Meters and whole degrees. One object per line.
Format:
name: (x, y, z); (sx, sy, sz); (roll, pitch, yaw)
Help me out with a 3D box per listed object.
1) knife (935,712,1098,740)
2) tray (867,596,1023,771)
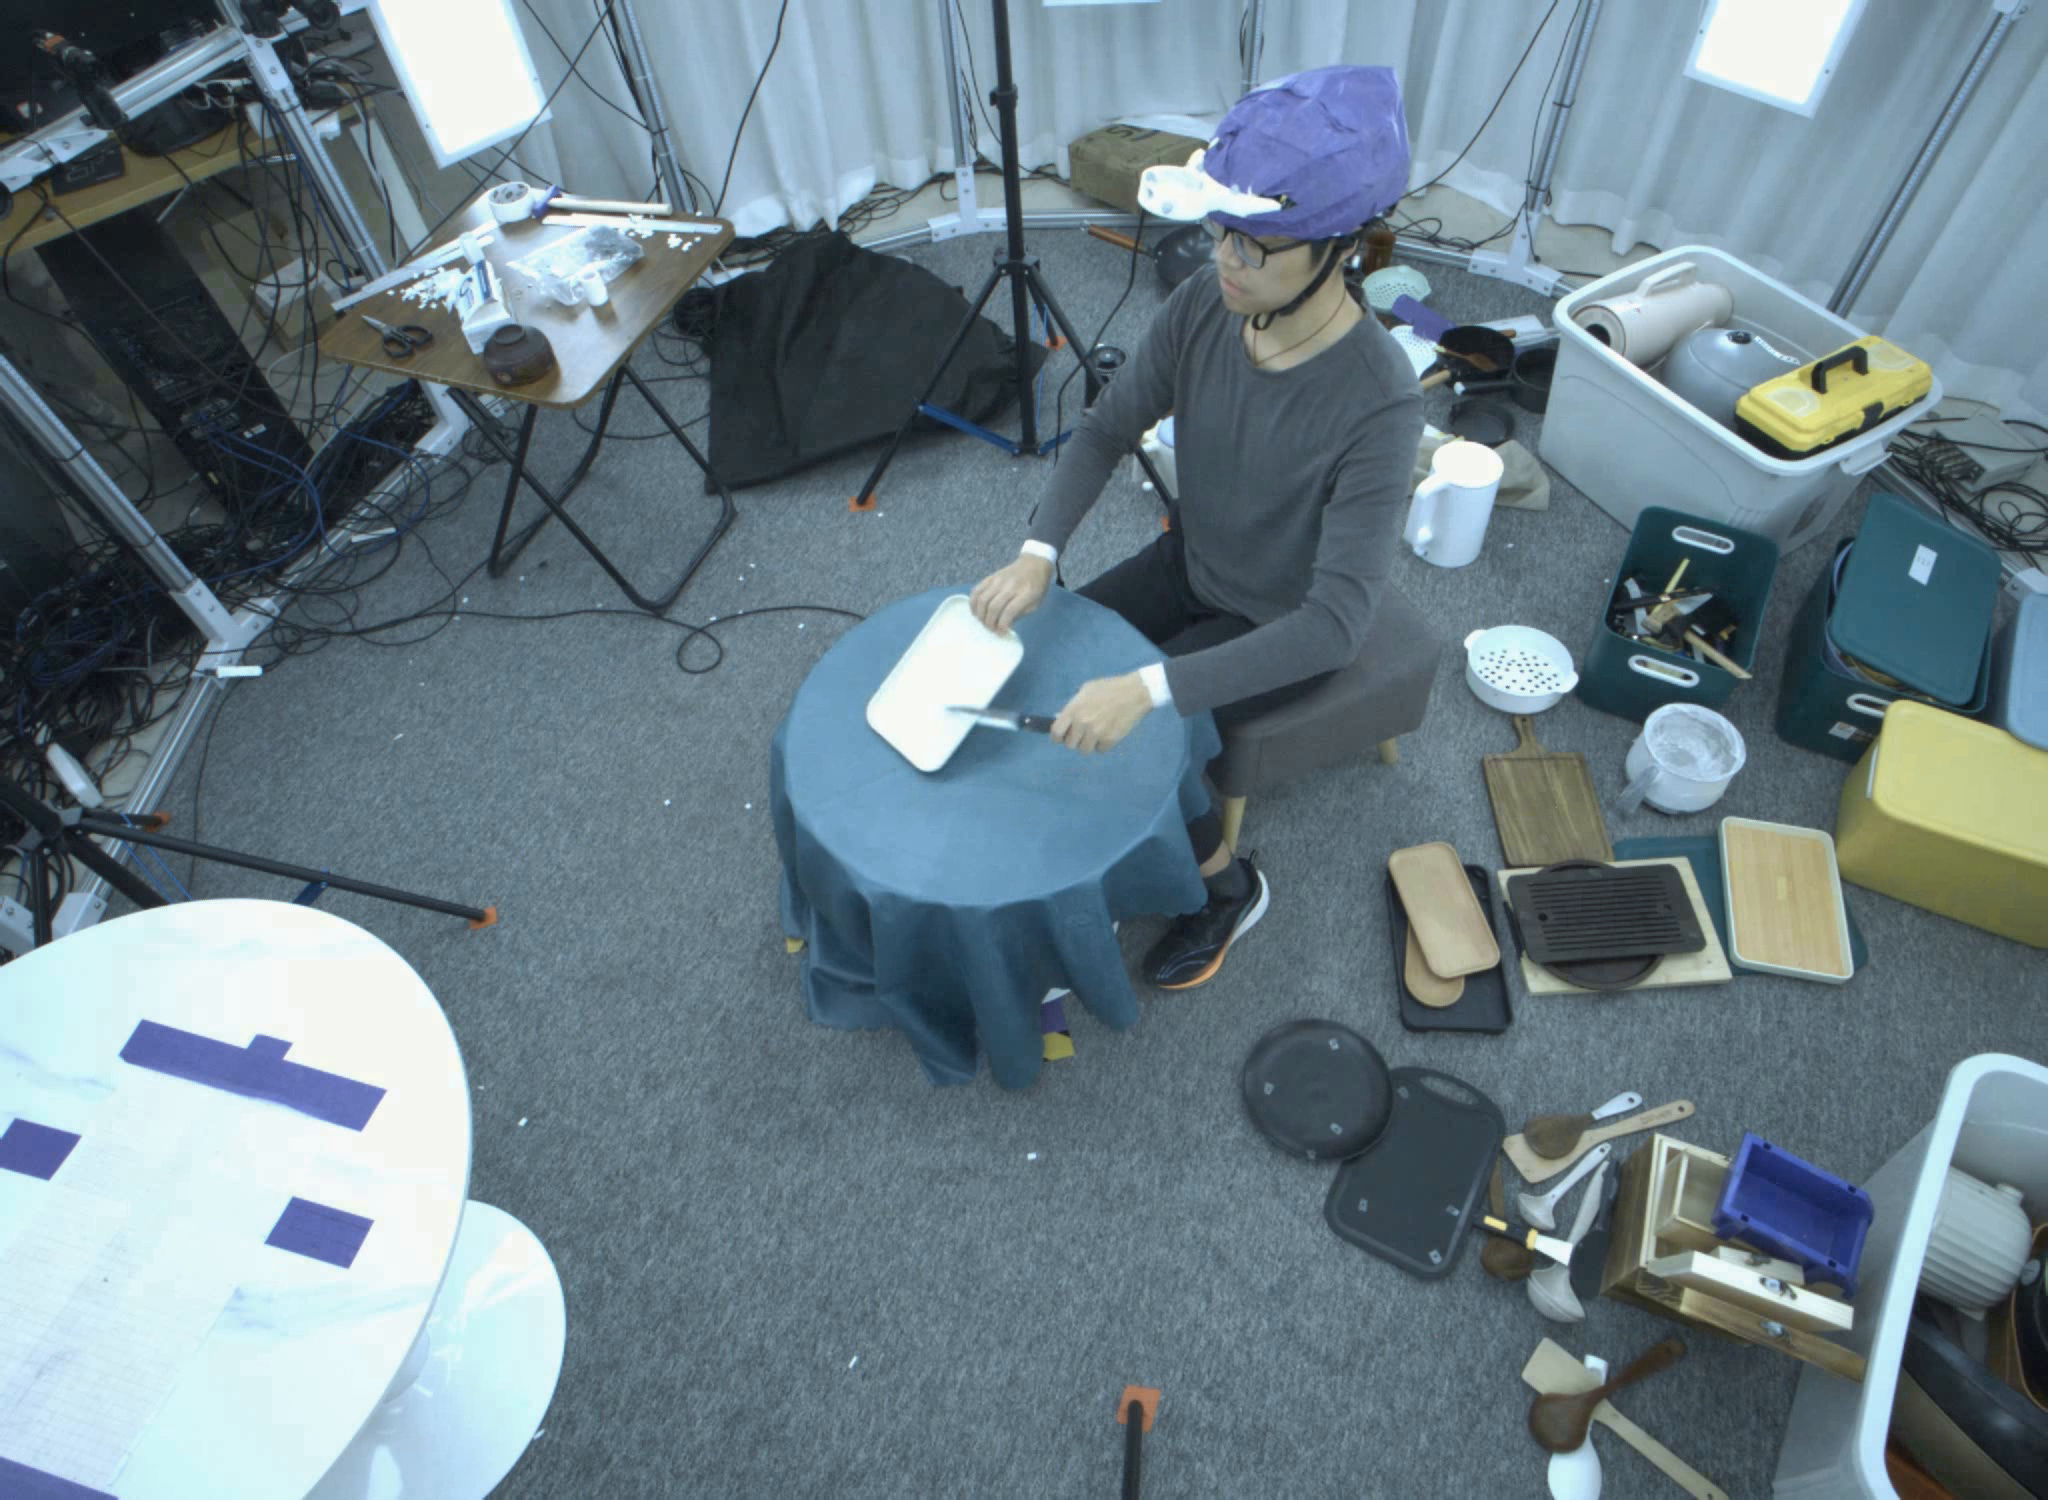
knife: (-0.013, -0.036, 1.678); (0.235, 0.016, 0.024); (6, 93, 17)
tray: (-0.116, -0.098, 1.790); (0.168, 0.018, 0.239); (39, 94, 29)
